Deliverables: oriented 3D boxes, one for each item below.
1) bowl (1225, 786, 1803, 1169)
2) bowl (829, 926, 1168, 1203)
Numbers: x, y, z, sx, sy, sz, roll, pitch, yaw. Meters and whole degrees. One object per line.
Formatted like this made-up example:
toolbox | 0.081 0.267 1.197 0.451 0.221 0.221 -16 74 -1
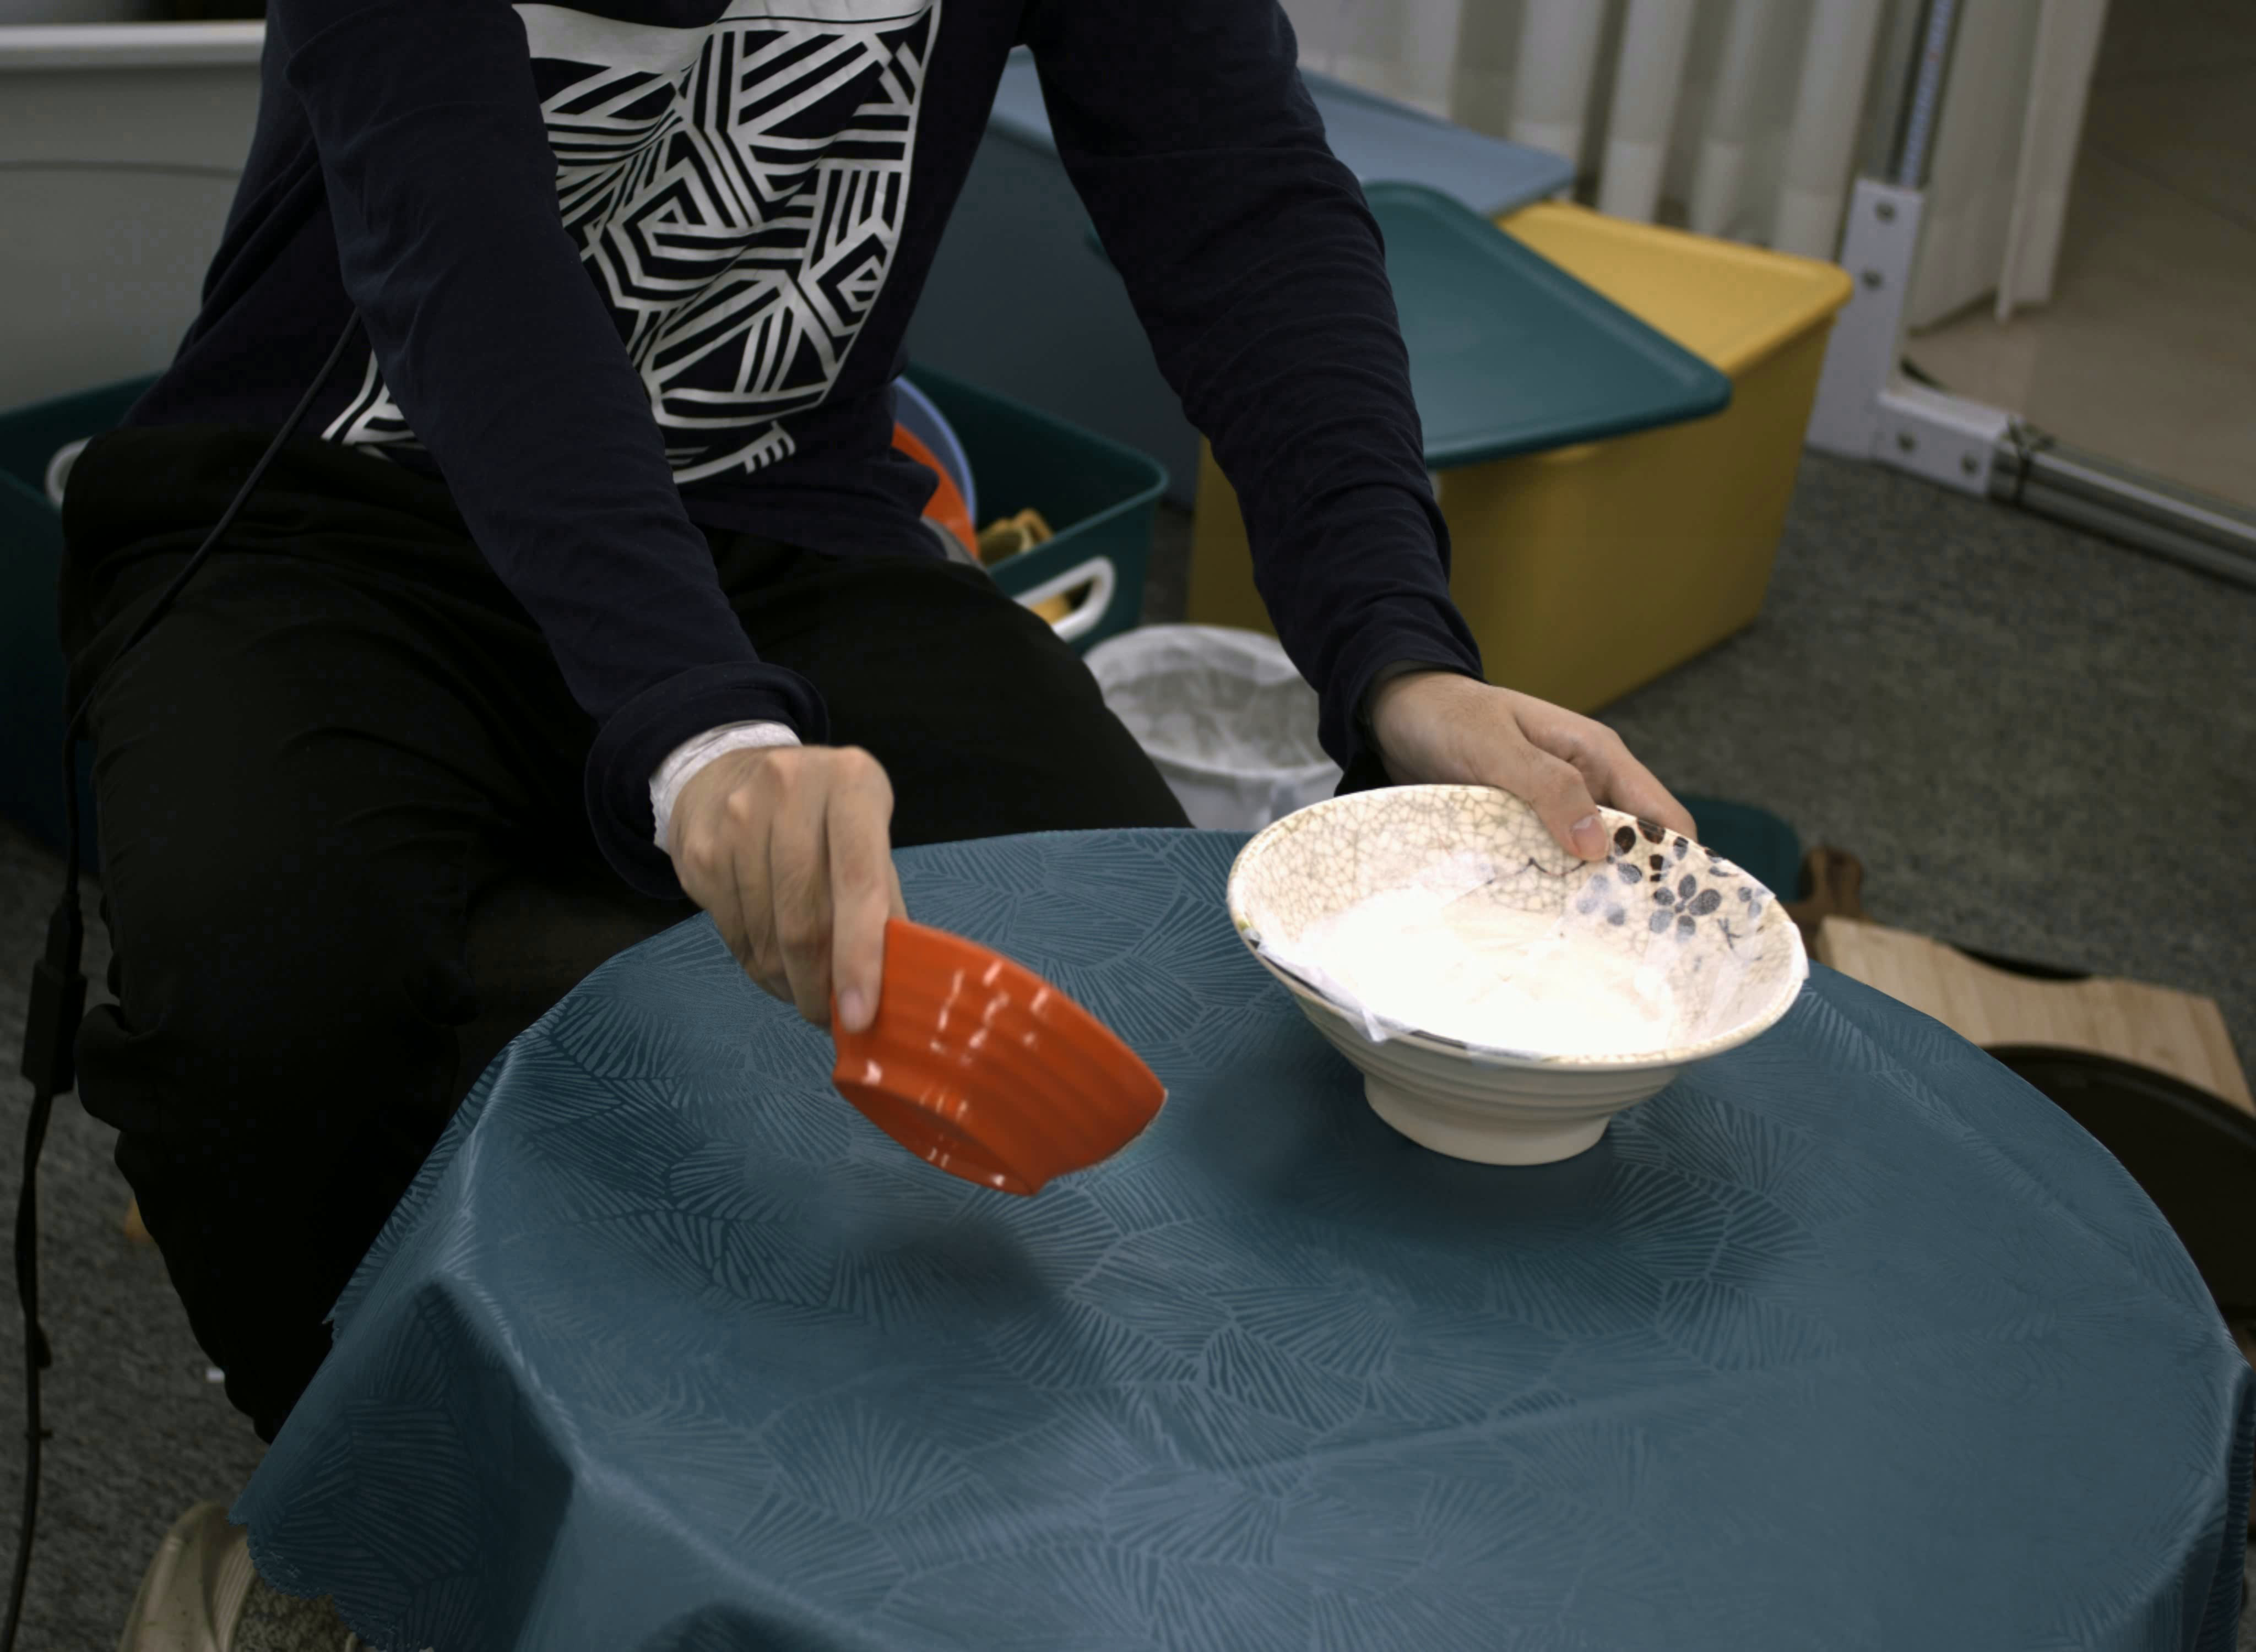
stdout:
bowl | 0.130 0.065 1.866 0.203 0.078 0.205 5 26 -3
bowl | -0.051 0.082 1.721 0.119 0.051 0.118 27 -12 6
